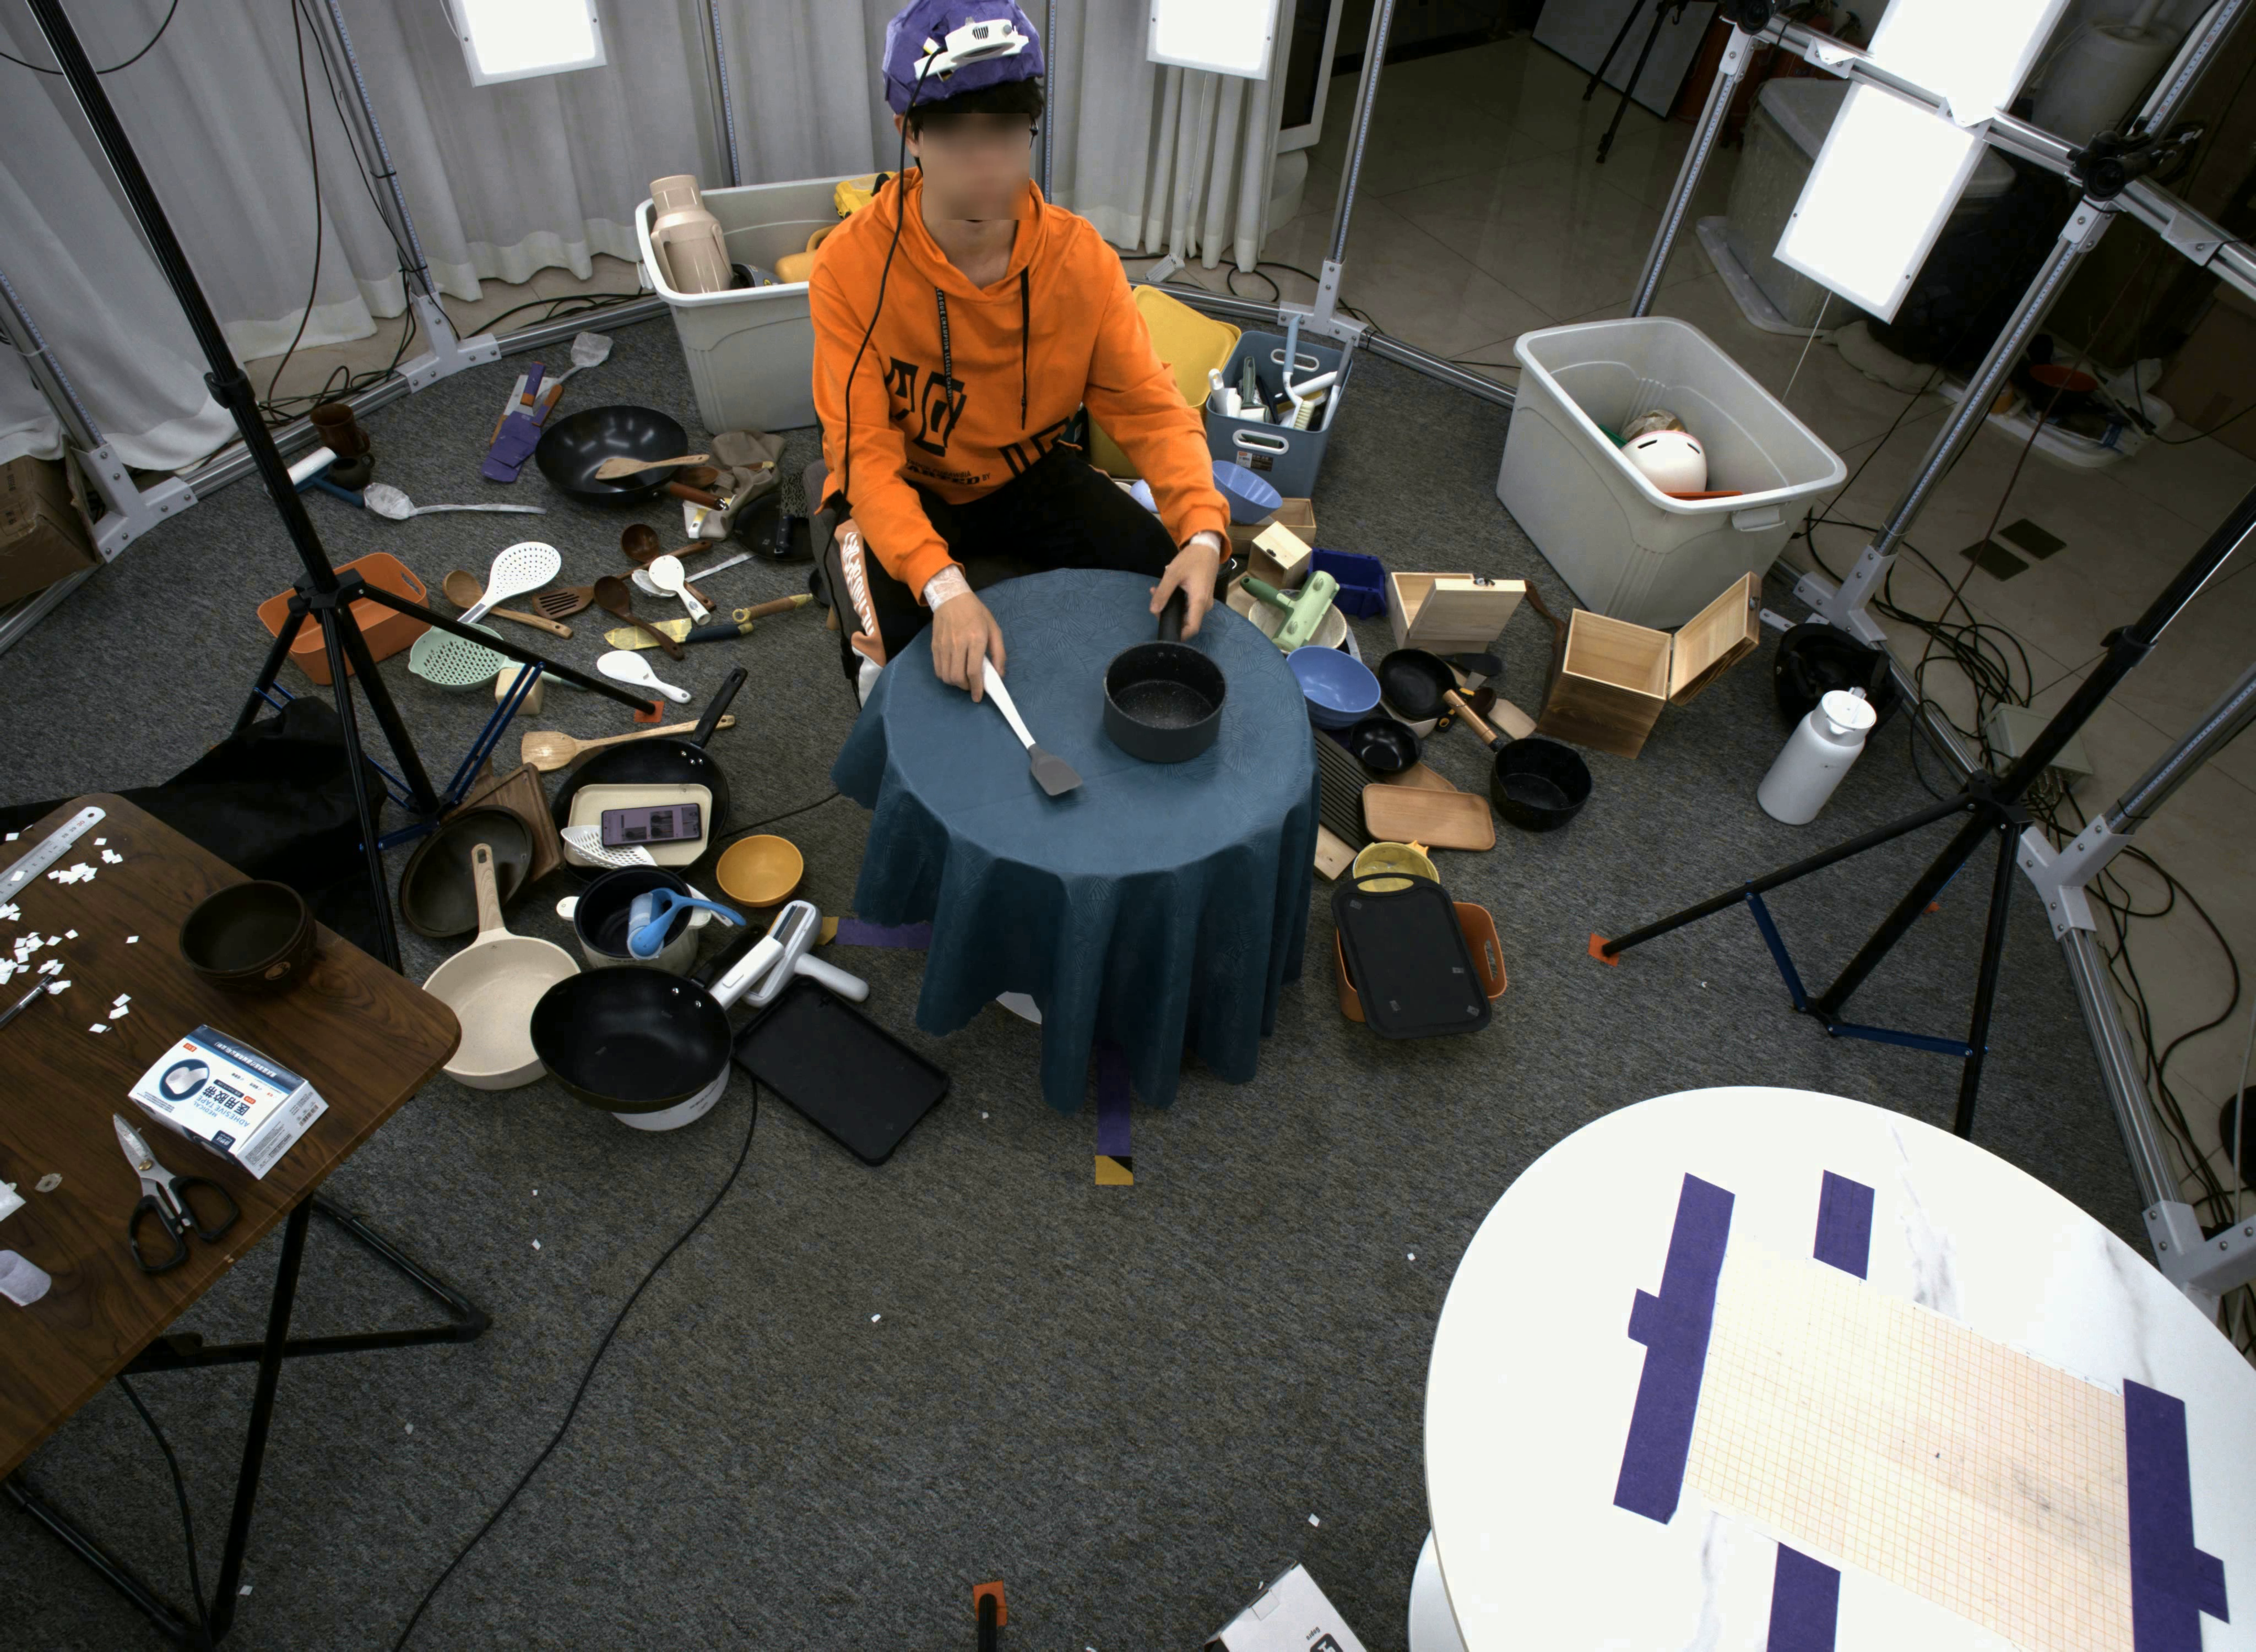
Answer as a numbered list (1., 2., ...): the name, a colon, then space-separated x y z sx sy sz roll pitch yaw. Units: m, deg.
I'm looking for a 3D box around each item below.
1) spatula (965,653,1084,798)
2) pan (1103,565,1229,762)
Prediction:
1. spatula: -0.148 -0.138 1.758 0.059 0.031 0.294 -19 53 -23
2. pan: 0.059 -0.234 1.821 0.172 0.084 0.336 8 51 2
